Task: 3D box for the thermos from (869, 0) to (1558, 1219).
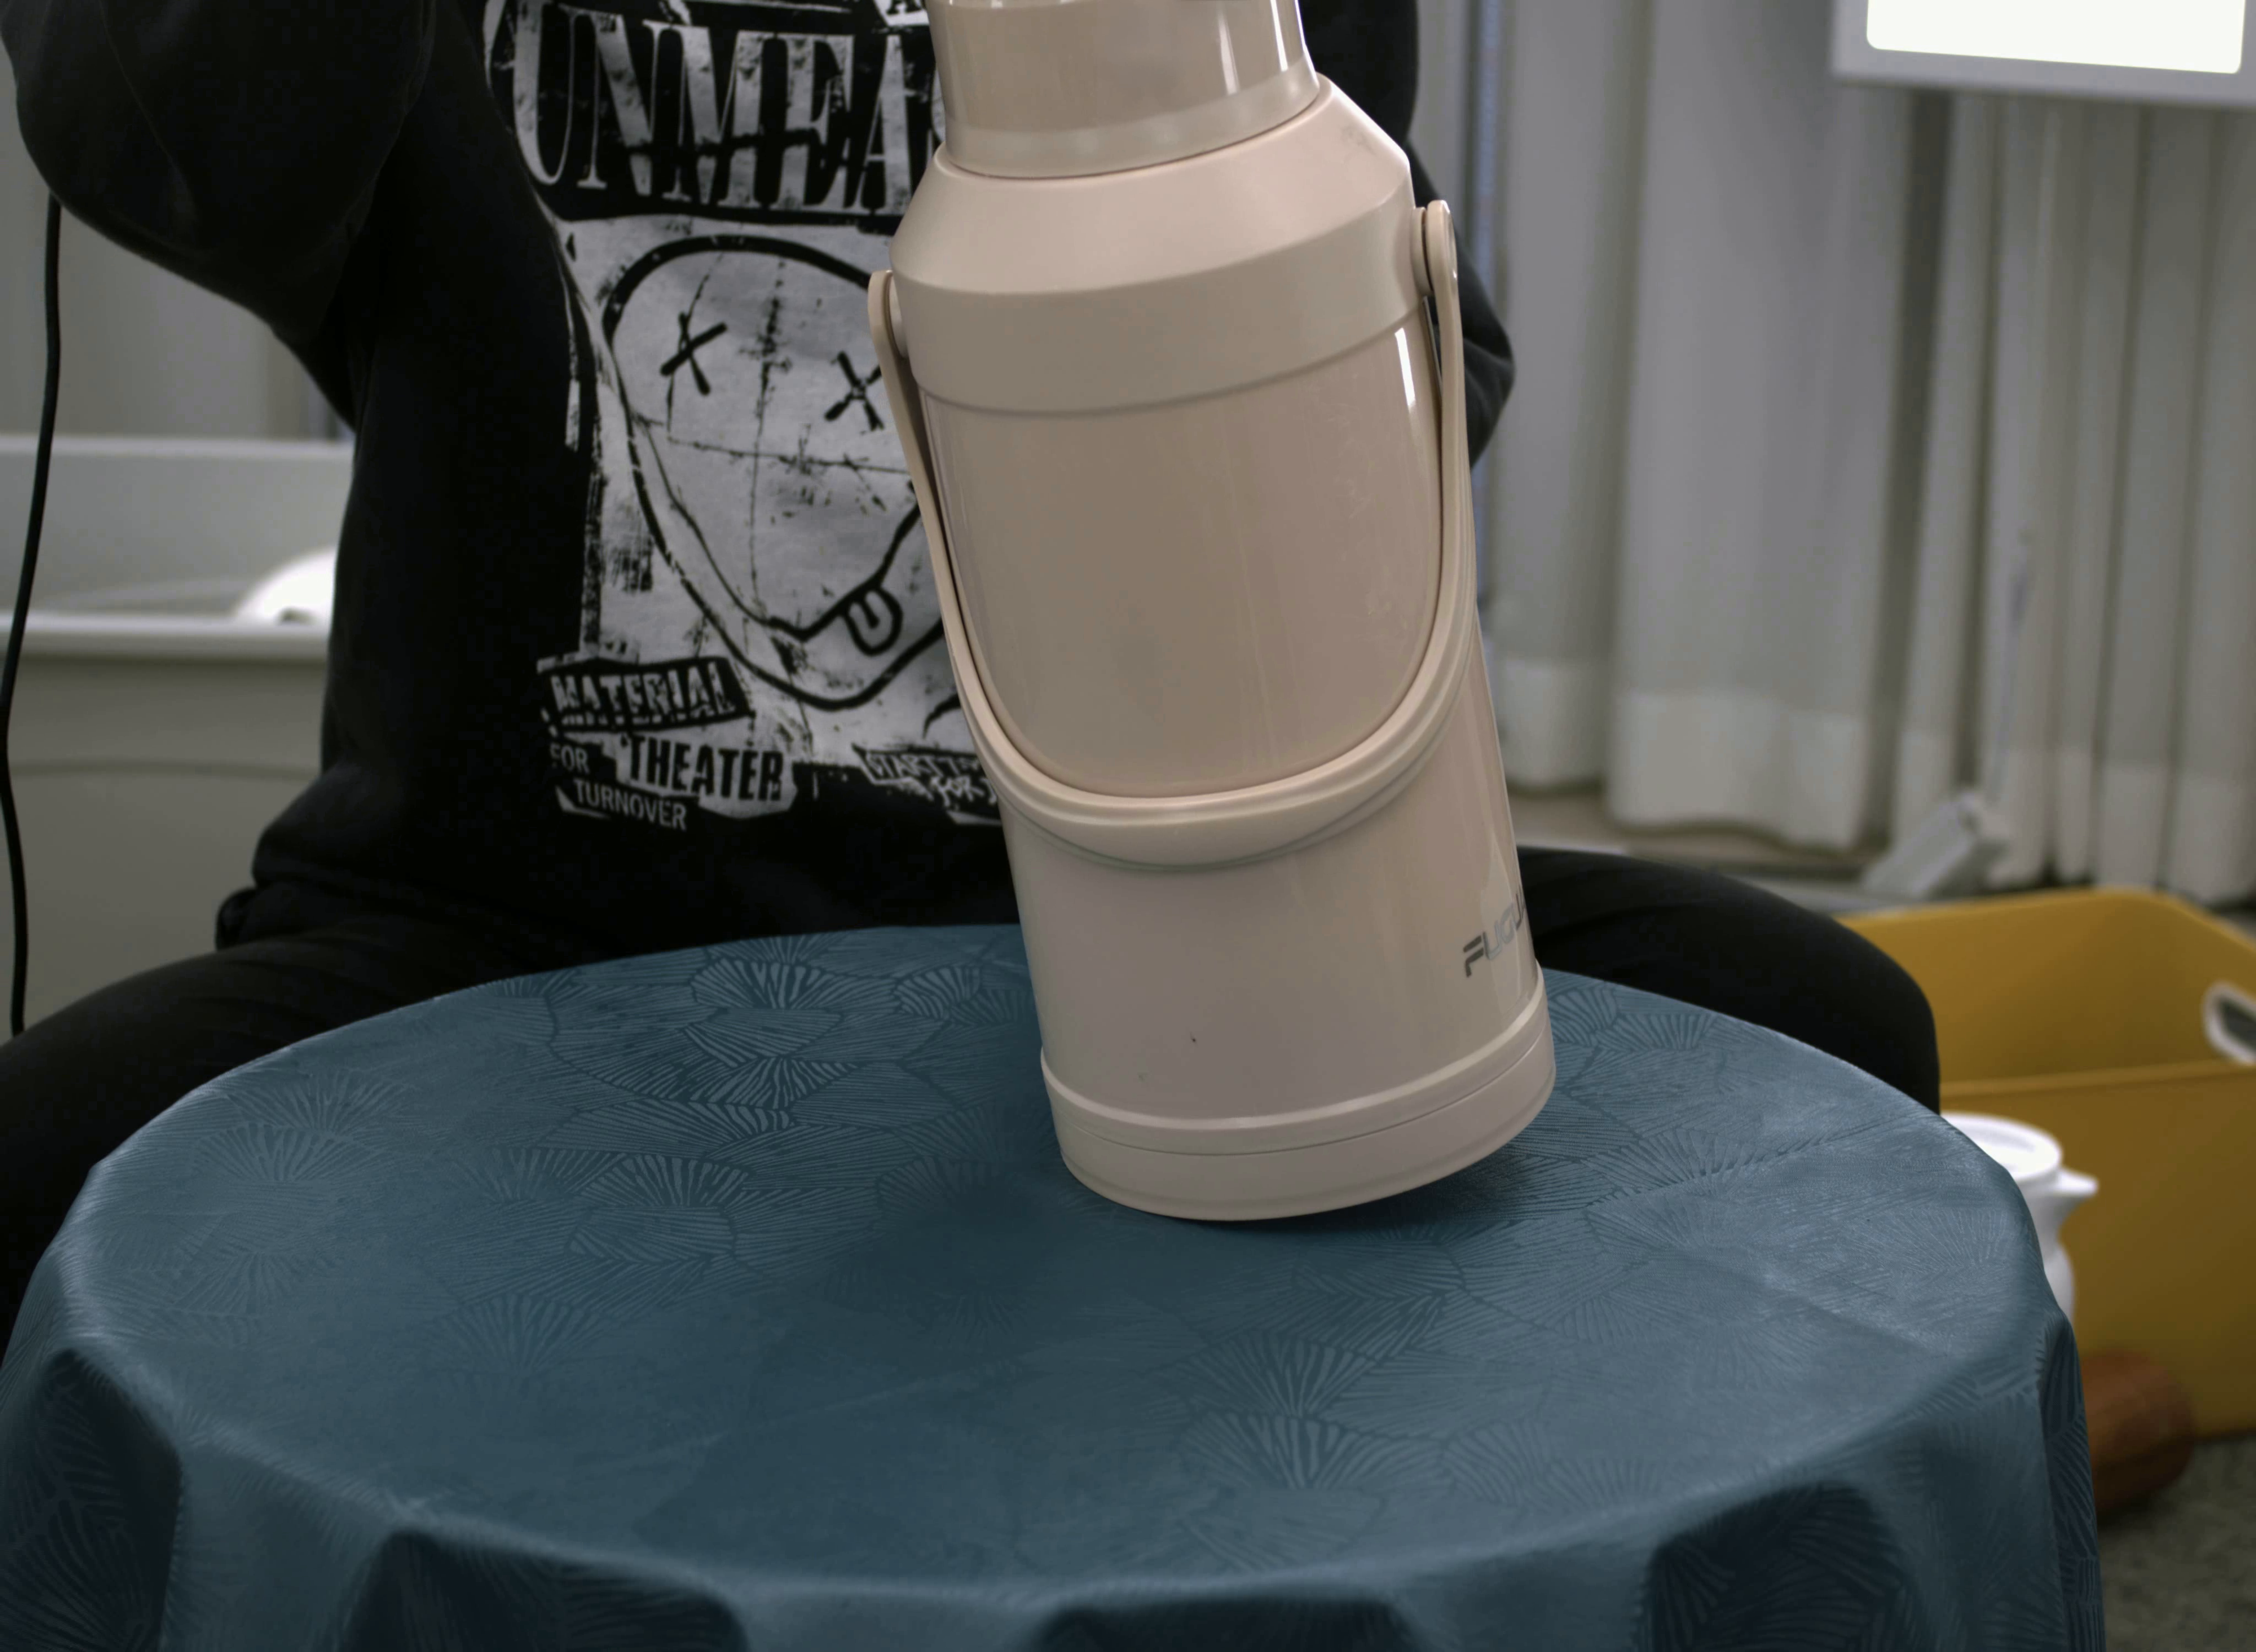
[{"bbox_3d":[0.027,-0.100,1.593,0.174,0.411,0.206,-7,23,11],"label":"thermos"}]
